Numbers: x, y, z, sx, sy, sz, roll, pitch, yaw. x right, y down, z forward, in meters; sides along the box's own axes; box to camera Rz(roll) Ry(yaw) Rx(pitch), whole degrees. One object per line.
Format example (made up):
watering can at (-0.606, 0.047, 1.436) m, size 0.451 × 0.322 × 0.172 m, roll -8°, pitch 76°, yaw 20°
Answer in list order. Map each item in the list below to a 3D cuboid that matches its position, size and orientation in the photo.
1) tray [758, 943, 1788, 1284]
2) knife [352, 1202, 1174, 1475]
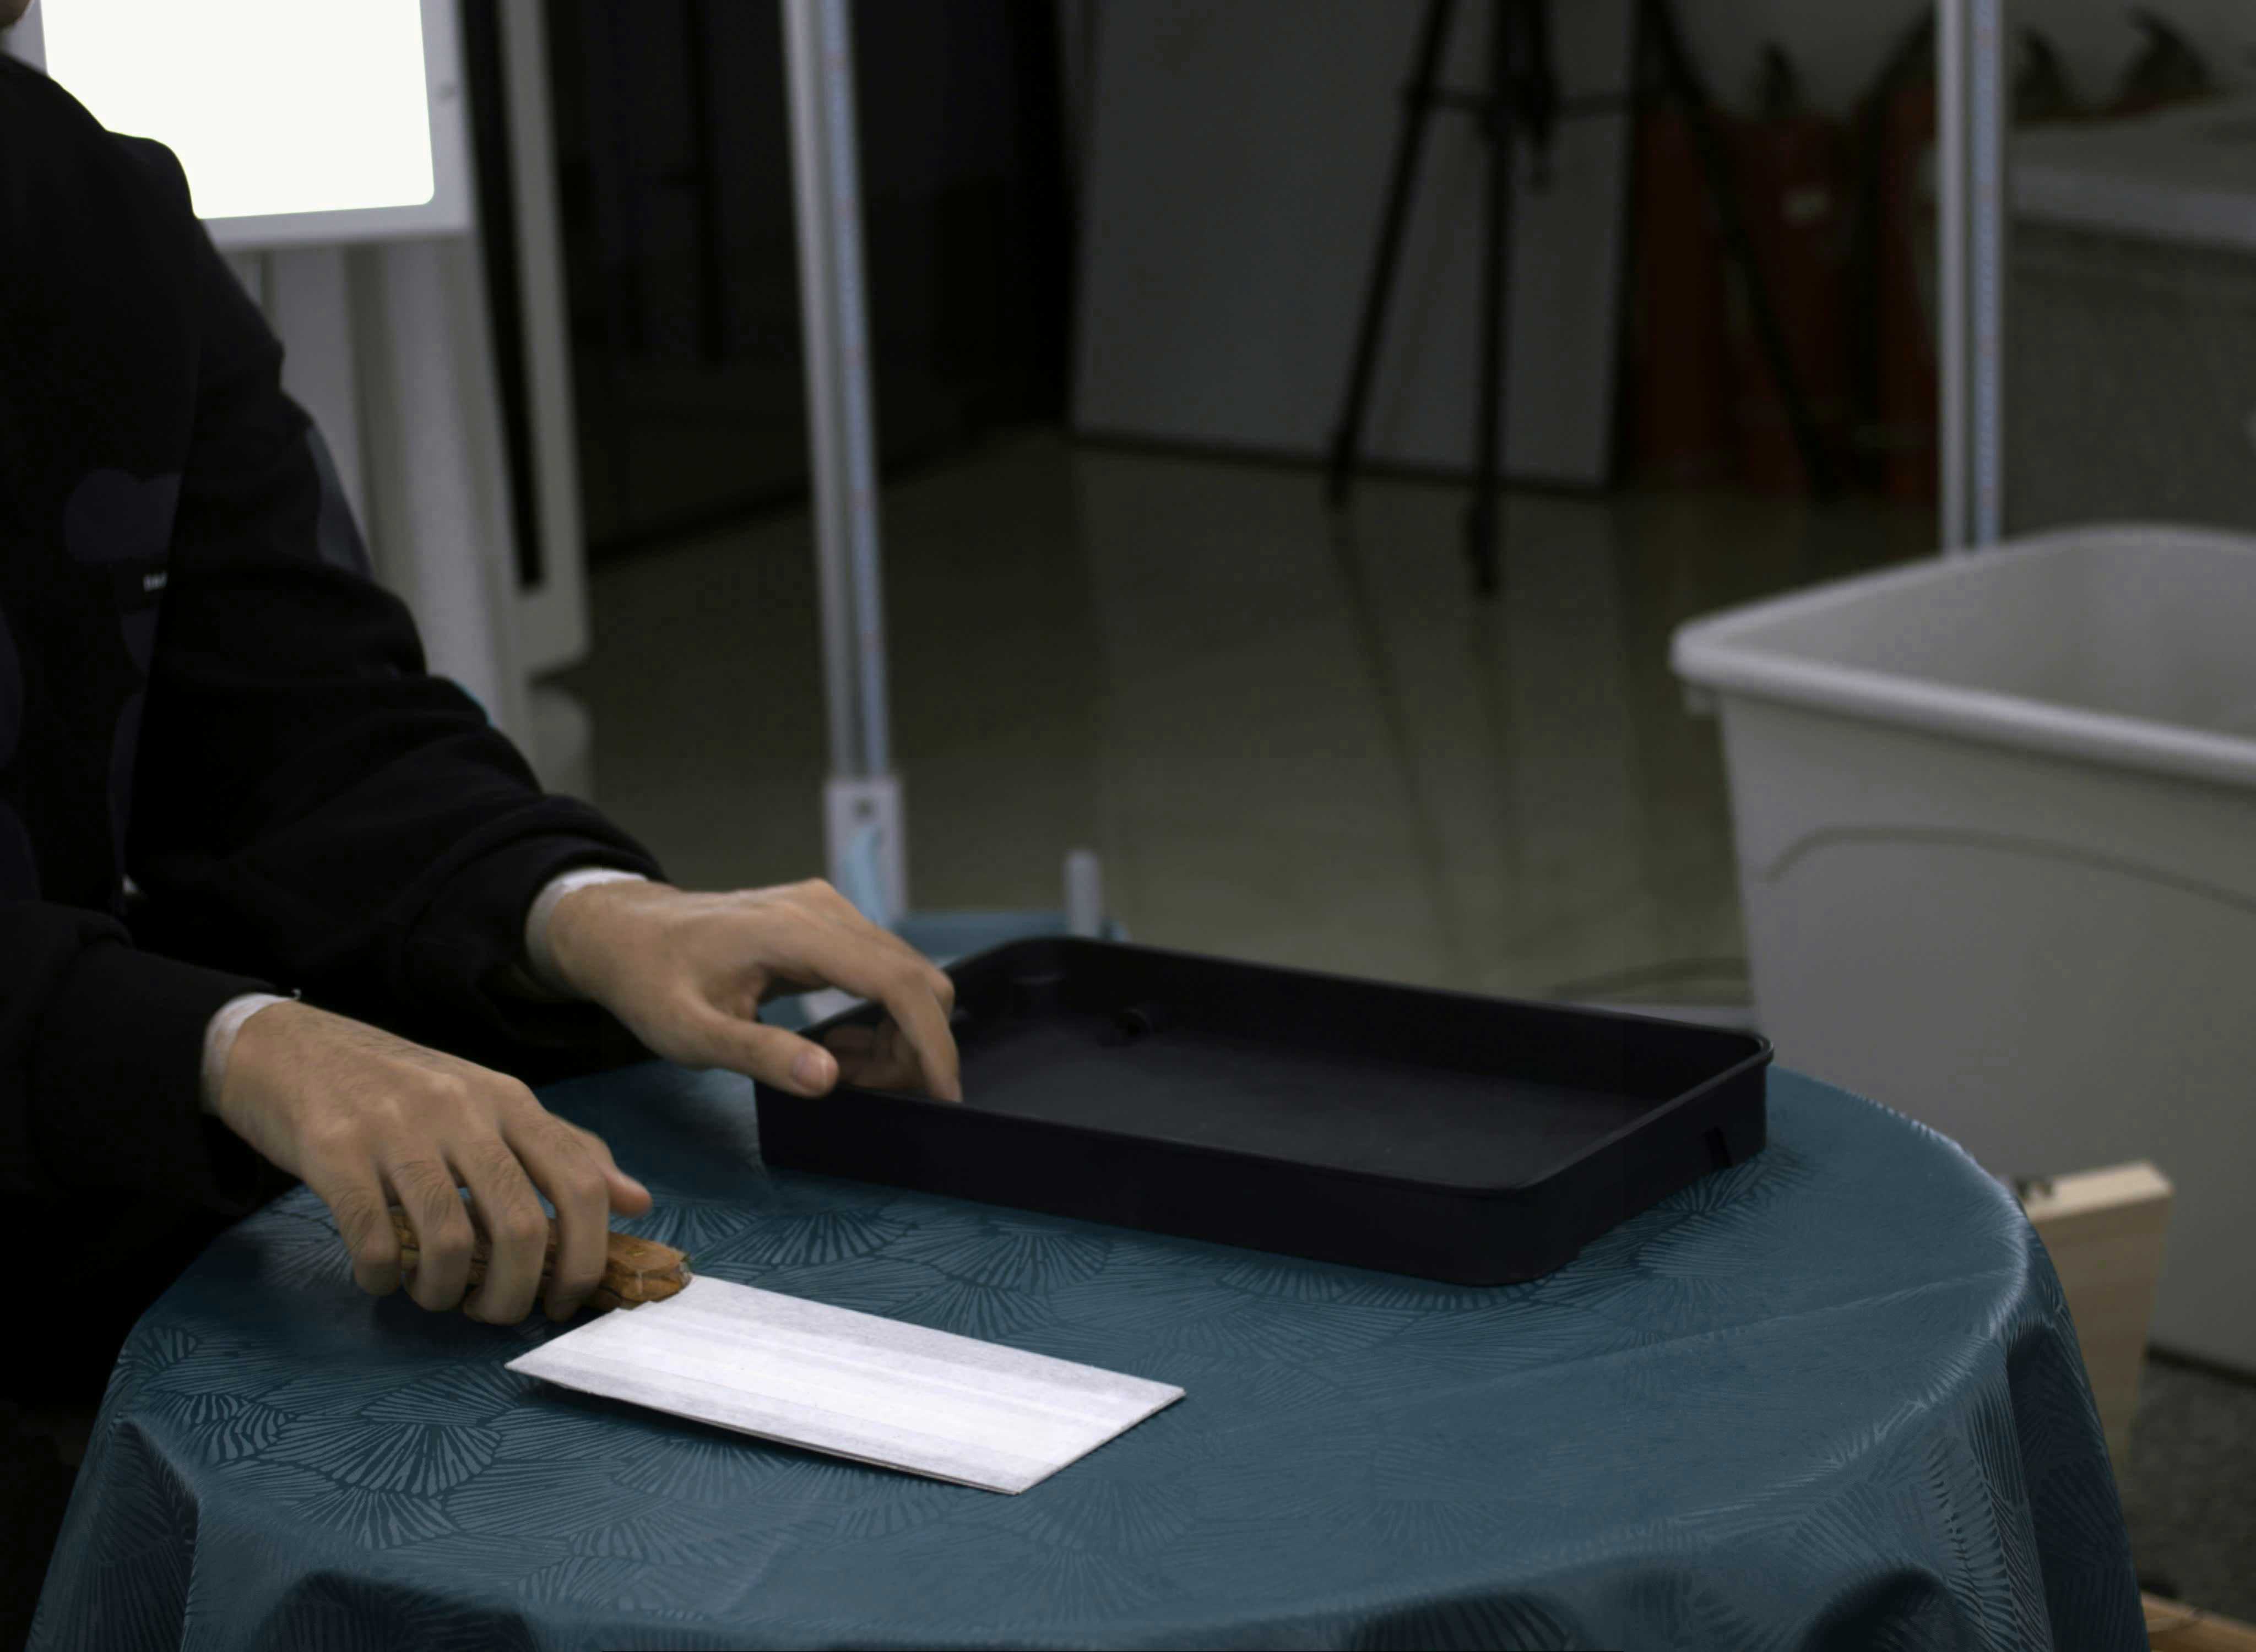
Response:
tray at (0.048, 0.092, 1.798) m, size 0.320 × 0.037 × 0.181 m, roll 5°, pitch 17°, yaw 35°
knife at (-0.130, 0.157, 1.631) m, size 0.307 × 0.021 × 0.091 m, roll 9°, pitch 20°, yaw 35°
